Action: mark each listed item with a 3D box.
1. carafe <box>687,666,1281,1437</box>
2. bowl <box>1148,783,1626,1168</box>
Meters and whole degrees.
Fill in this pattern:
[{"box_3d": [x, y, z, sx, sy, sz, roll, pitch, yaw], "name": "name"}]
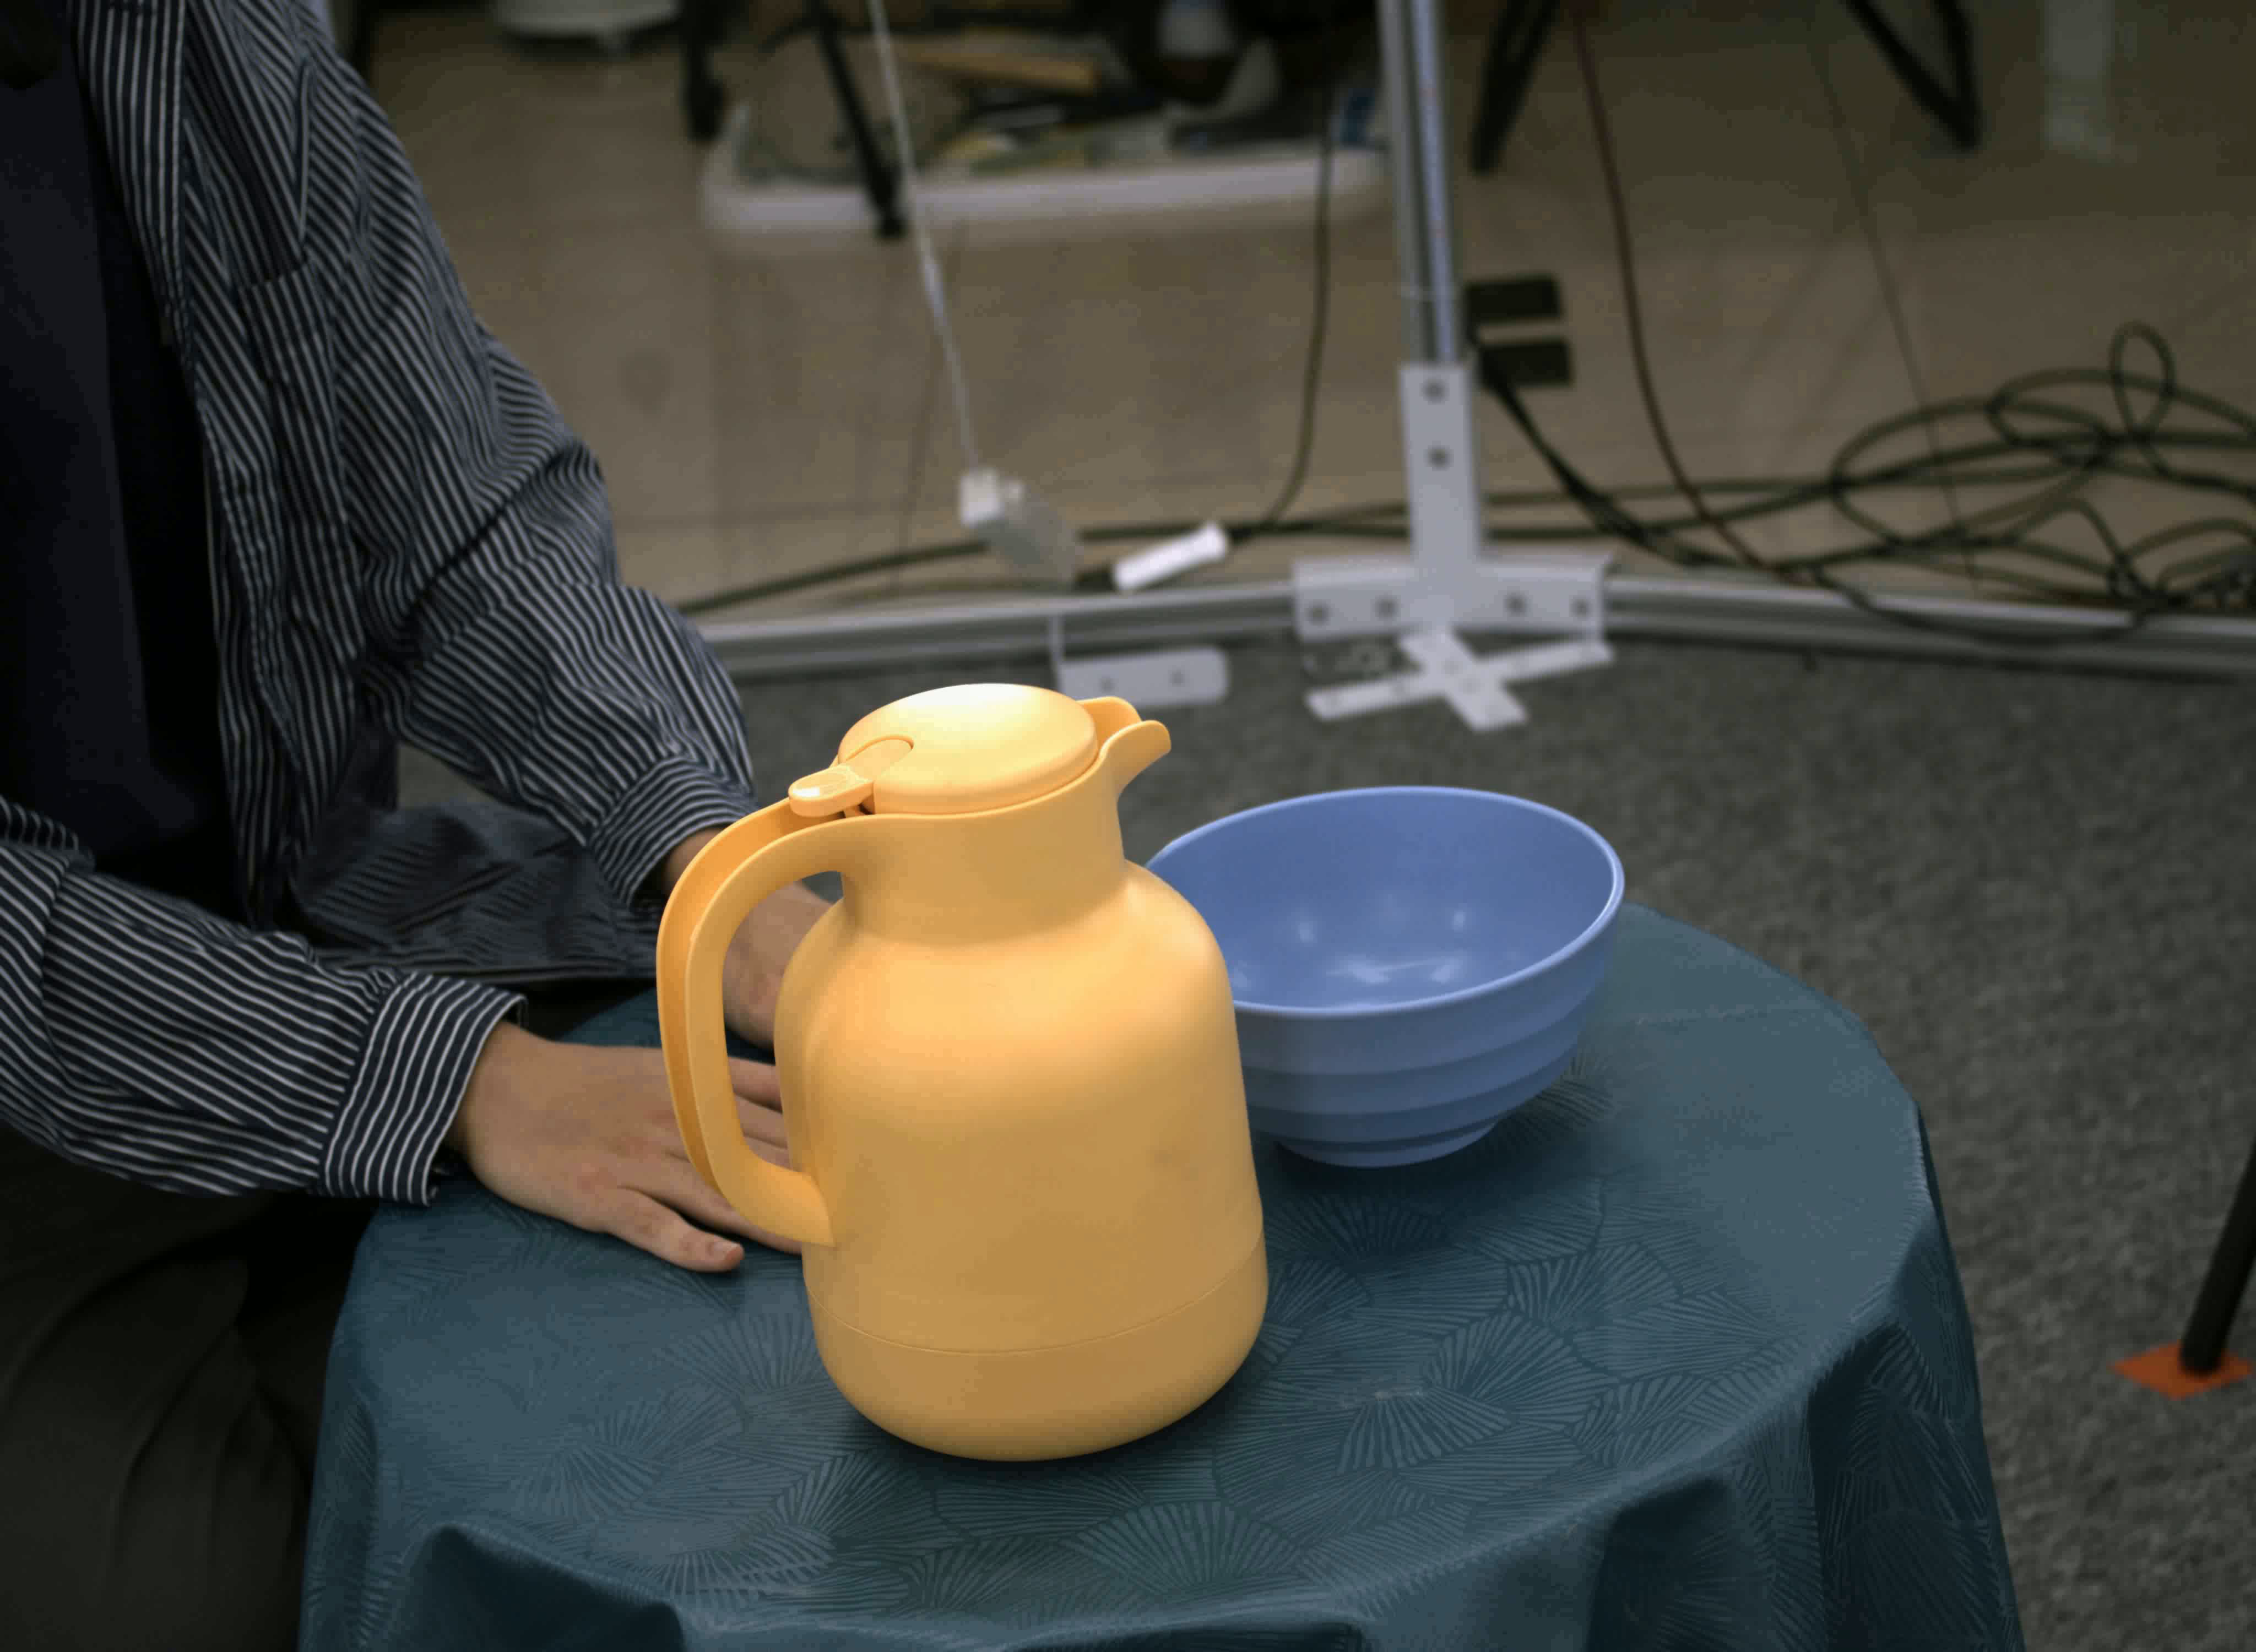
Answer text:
[{"box_3d": [-0.053, 0.080, 1.981, 0.201, 0.265, 0.161, -19, 29, -23], "name": "carafe"}, {"box_3d": [0.095, 0.068, 2.166, 0.196, 0.097, 0.193, -5, 26, 3], "name": "bowl"}]
